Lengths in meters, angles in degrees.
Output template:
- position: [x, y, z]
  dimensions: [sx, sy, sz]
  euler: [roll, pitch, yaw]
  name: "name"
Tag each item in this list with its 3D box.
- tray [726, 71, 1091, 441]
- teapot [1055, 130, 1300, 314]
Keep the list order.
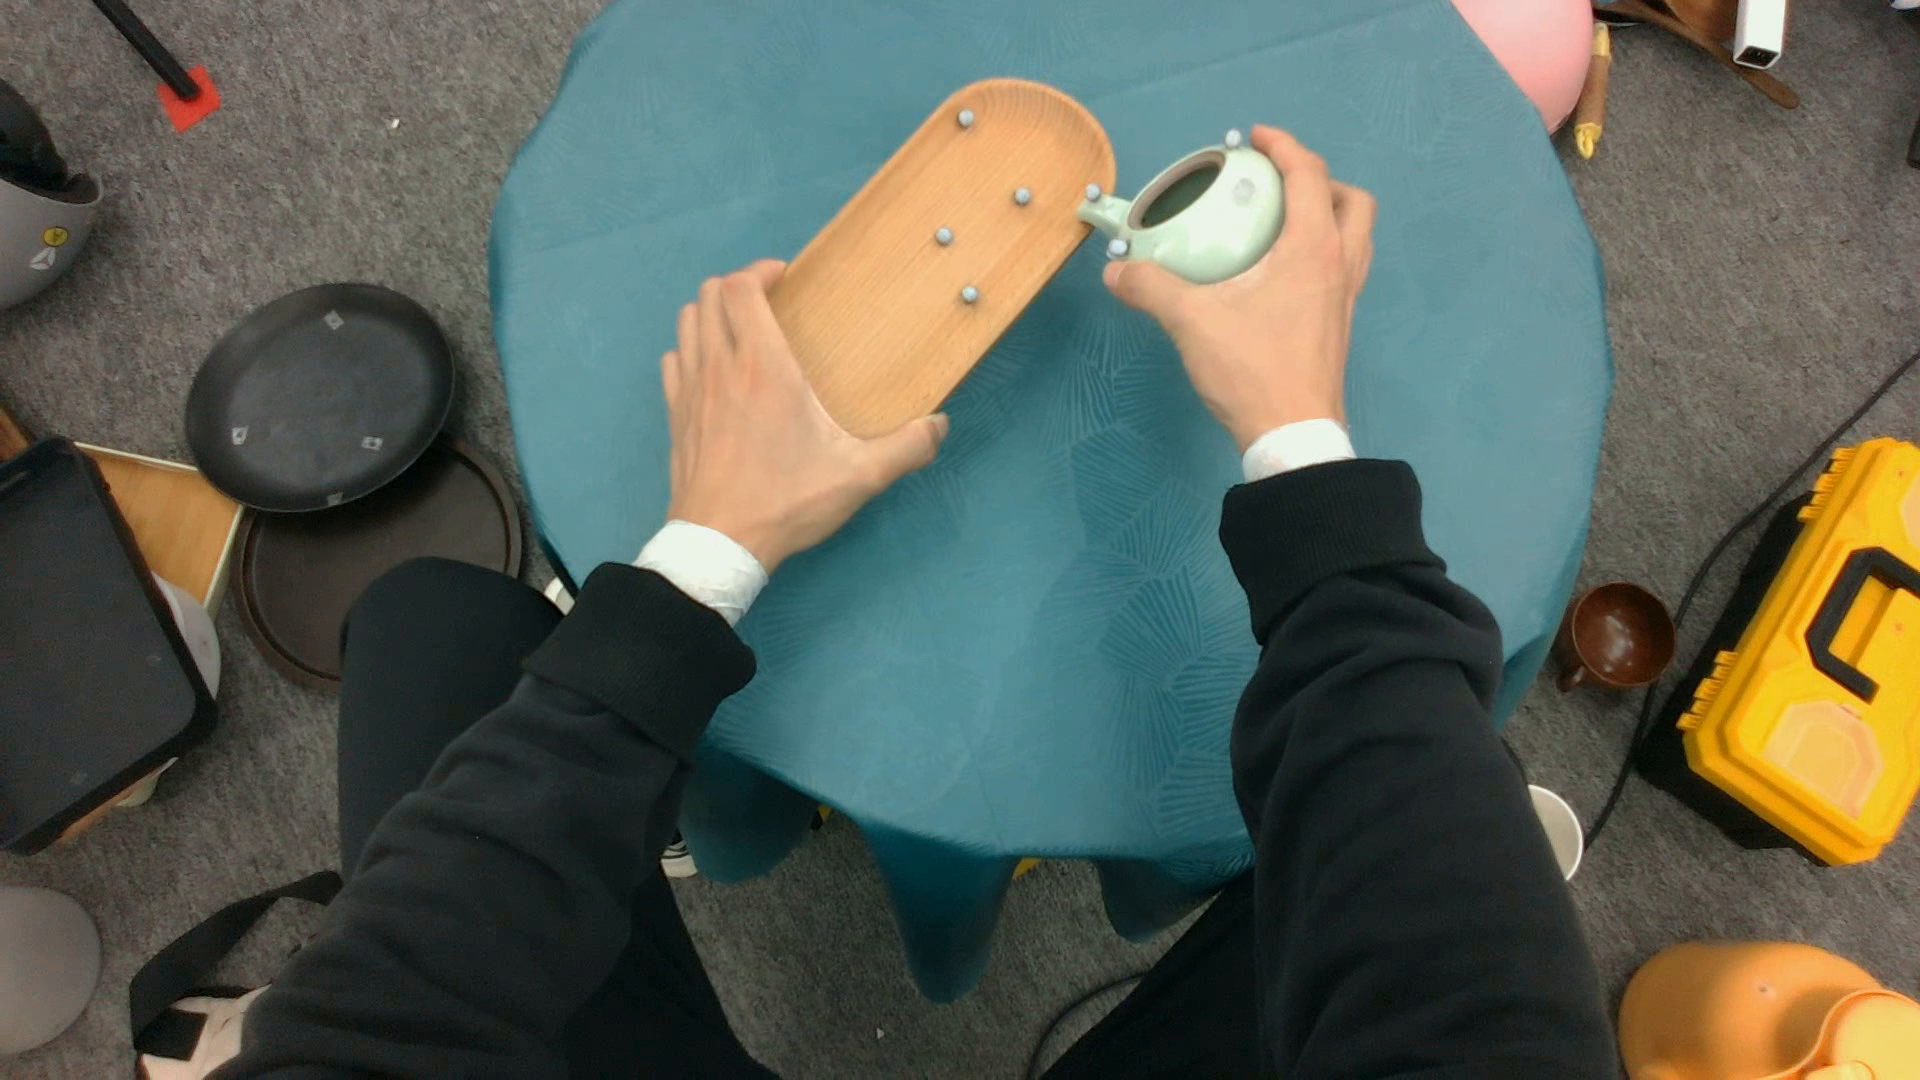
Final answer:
- position: [-0.022, -0.143, 0.680]
  dimensions: [0.101, 0.020, 0.232]
  euler: [36, 72, 6]
  name: "tray"
- position: [0.107, -0.150, 0.649]
  dimensions: [0.074, 0.143, 0.088]
  euler: [44, 72, -26]
  name: "teapot"
